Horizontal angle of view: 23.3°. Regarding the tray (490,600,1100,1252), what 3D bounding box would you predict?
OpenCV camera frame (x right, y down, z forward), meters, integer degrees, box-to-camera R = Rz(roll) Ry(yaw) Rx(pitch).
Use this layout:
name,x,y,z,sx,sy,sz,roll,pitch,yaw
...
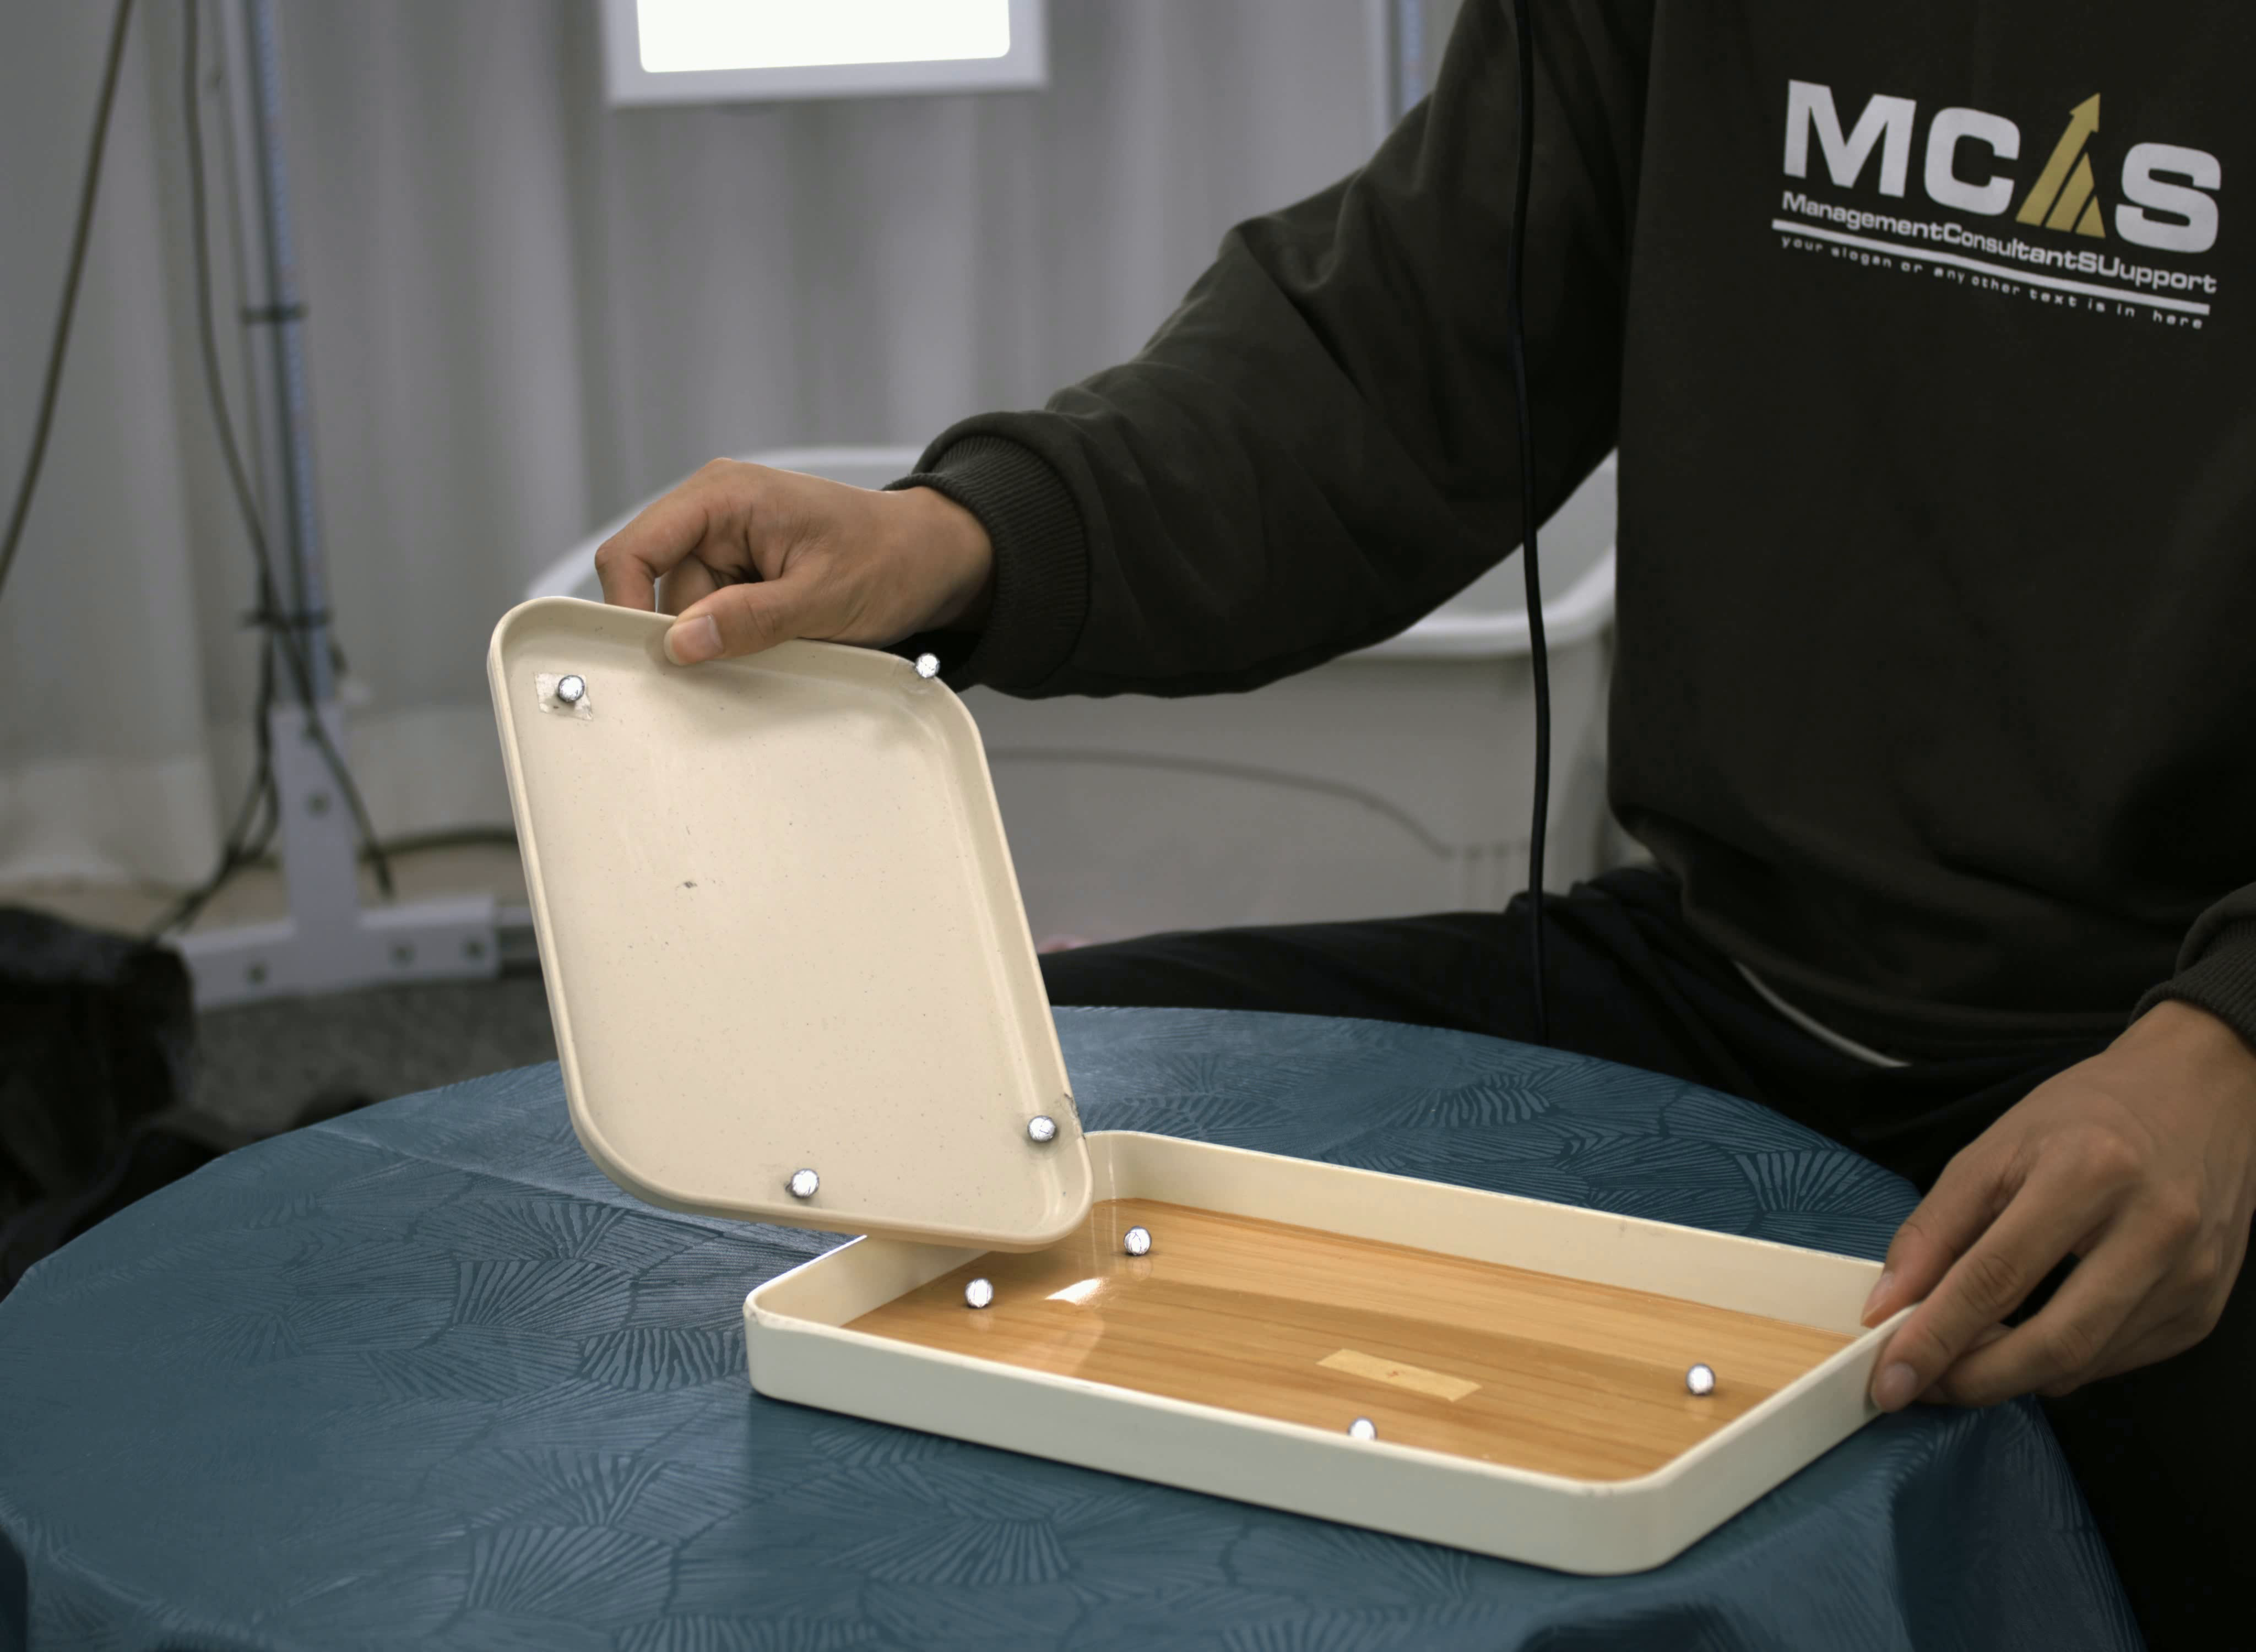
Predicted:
name,x,y,z,sx,sy,sz,roll,pitch,yaw
tray,-0.105,0.031,1.671,0.170,0.017,0.243,9,44,-27

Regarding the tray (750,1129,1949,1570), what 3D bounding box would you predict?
name,x,y,z,sx,sy,sz,roll,pitch,yaw
tray,0.062,0.144,1.548,0.301,0.027,0.191,8,18,34
